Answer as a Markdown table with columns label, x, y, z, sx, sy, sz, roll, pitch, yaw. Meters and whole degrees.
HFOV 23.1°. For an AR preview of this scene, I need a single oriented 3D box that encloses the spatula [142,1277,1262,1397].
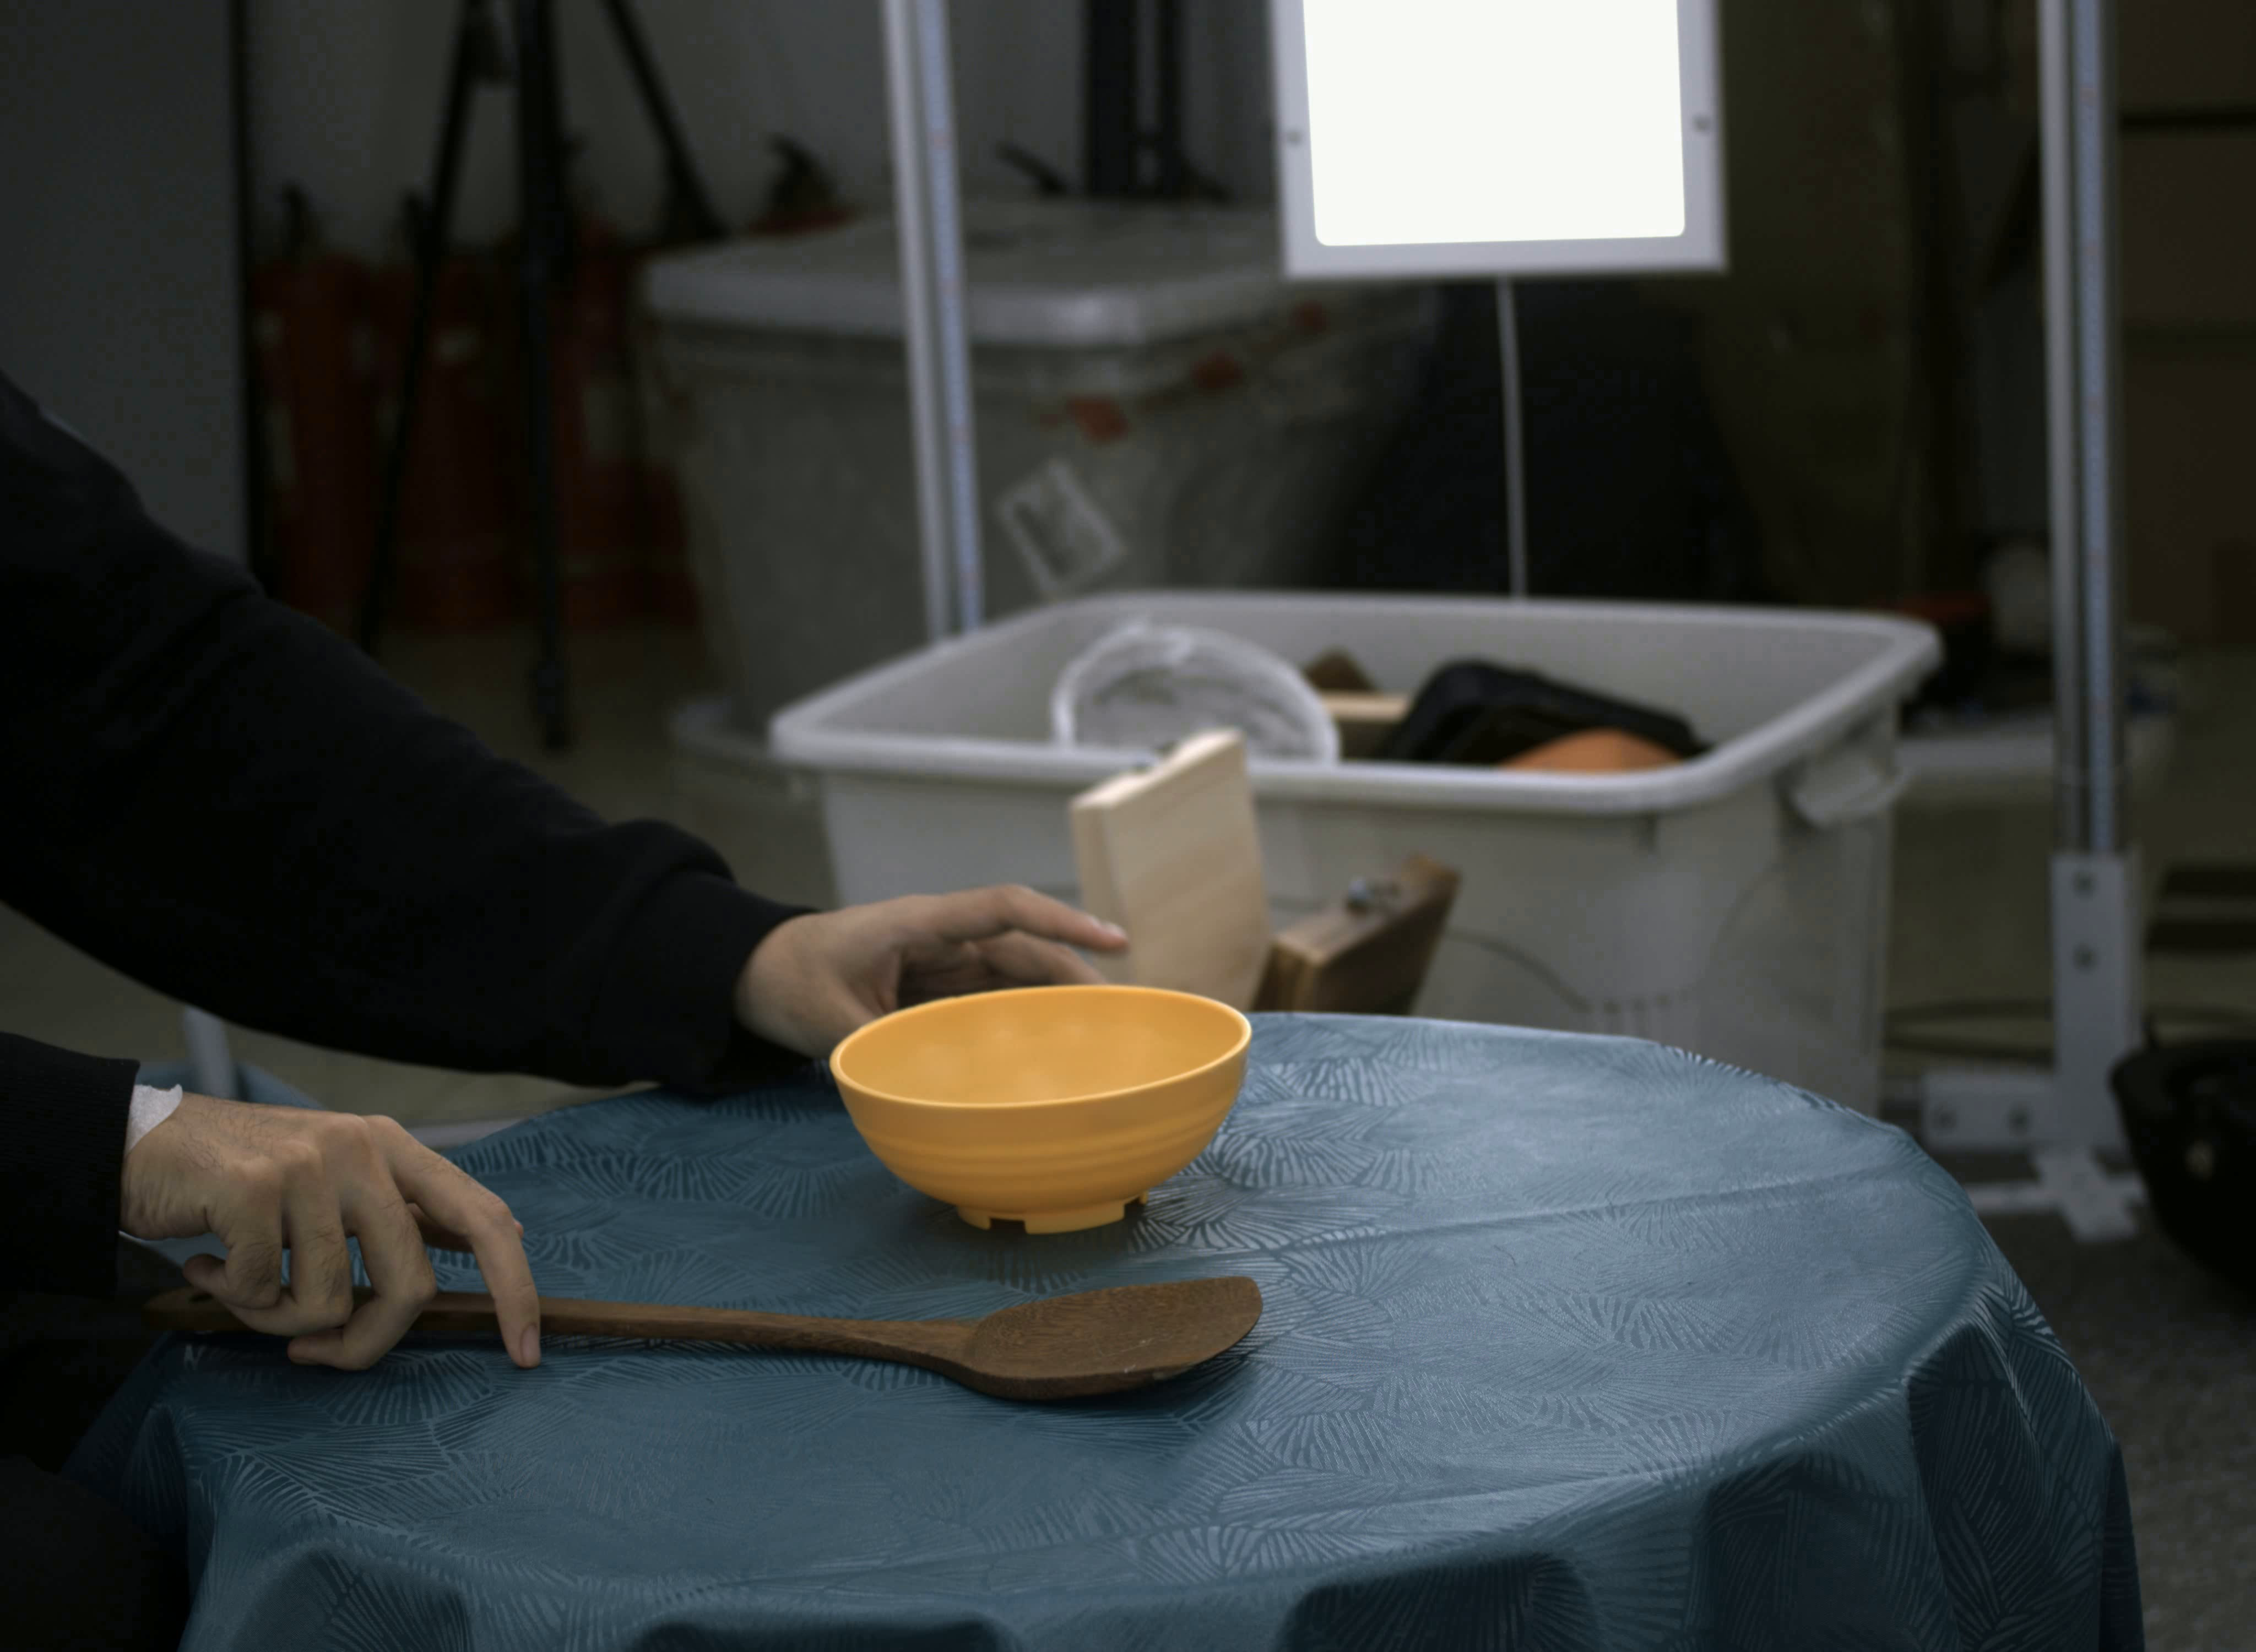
| label | x | y | z | sx | sy | sz | roll | pitch | yaw |
| --- | --- | --- | --- | --- | --- | --- | --- | --- | --- |
| spatula | -0.145 | 0.160 | 1.779 | 0.391 | 0.016 | 0.094 | 1 | 13 | 20 |

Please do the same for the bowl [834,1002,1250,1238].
| label | x | y | z | sx | sy | sz | roll | pitch | yaw |
| --- | --- | --- | --- | --- | --- | --- | --- | --- | --- |
| bowl | -0.028 | 0.104 | 1.884 | 0.145 | 0.060 | 0.145 | -5 | 11 | 0 |
